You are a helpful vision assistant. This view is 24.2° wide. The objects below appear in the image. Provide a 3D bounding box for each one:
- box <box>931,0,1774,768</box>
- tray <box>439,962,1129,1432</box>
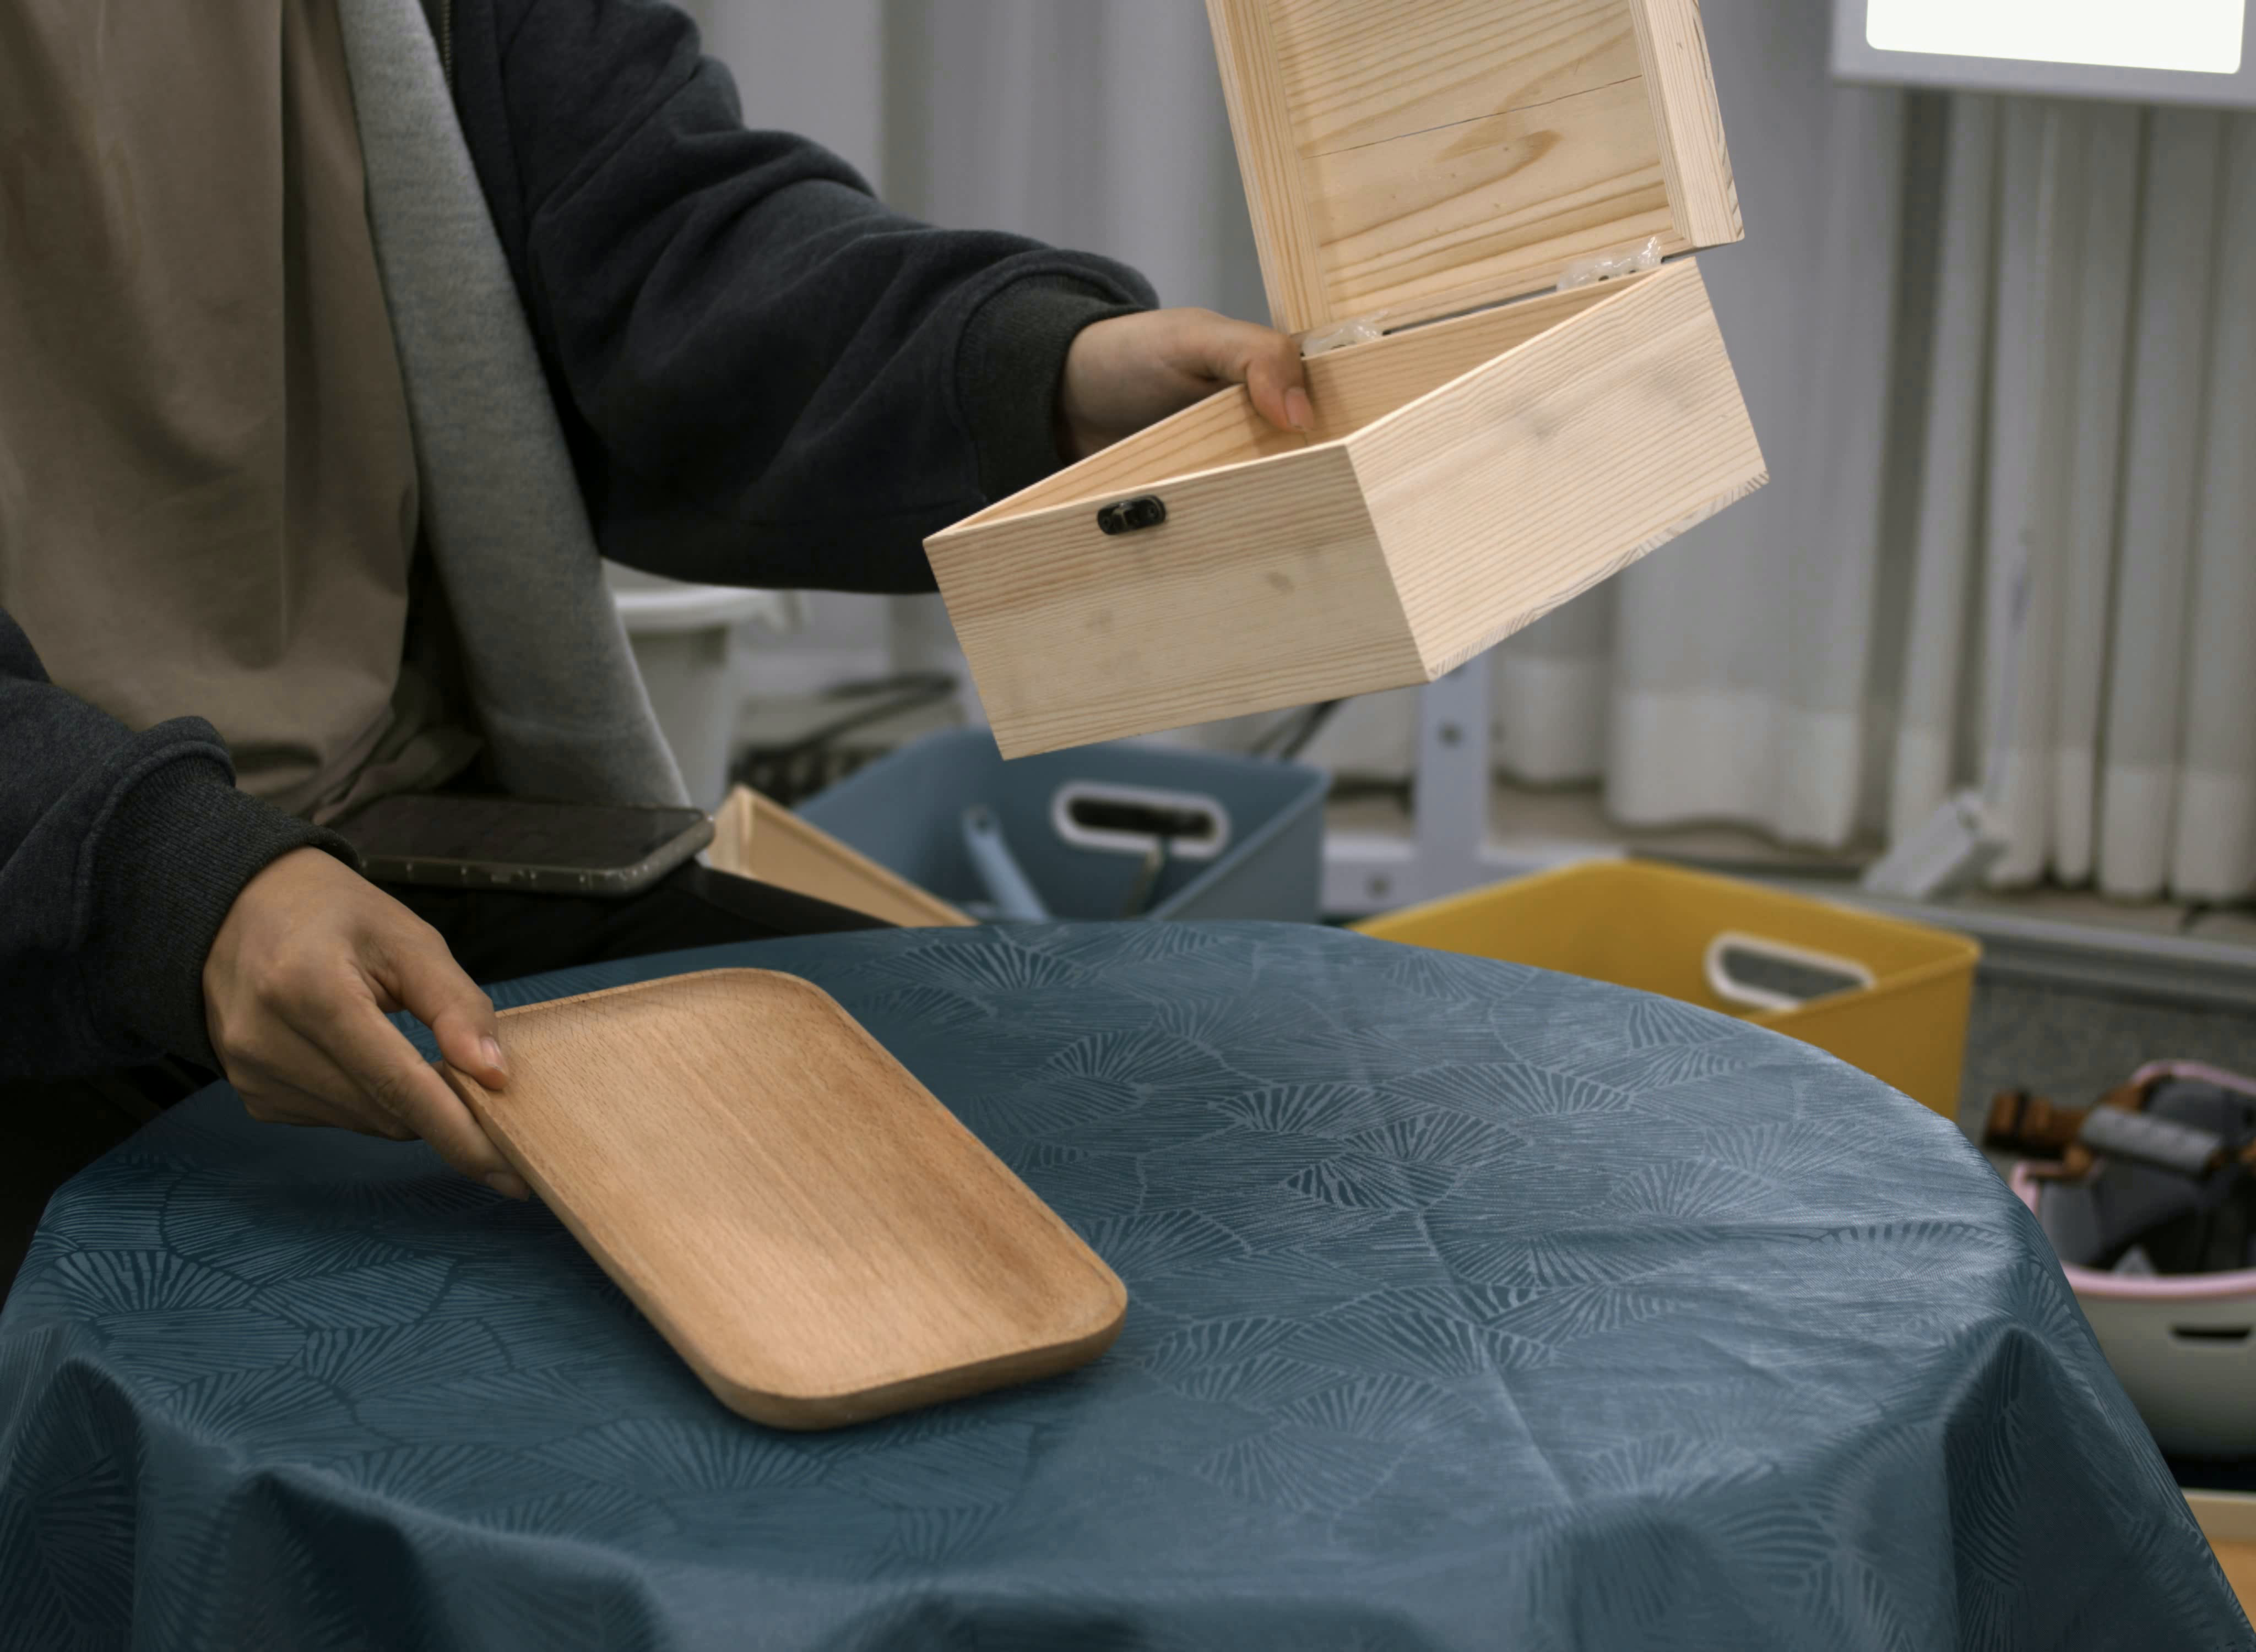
[{"bbox_3d":[0.060,-0.189,1.635,0.180,0.255,0.266,-13,12,44],"label":"box"},{"bbox_3d":[-0.104,0.104,1.536,0.131,0.023,0.247,-8,27,-27],"label":"tray"}]
